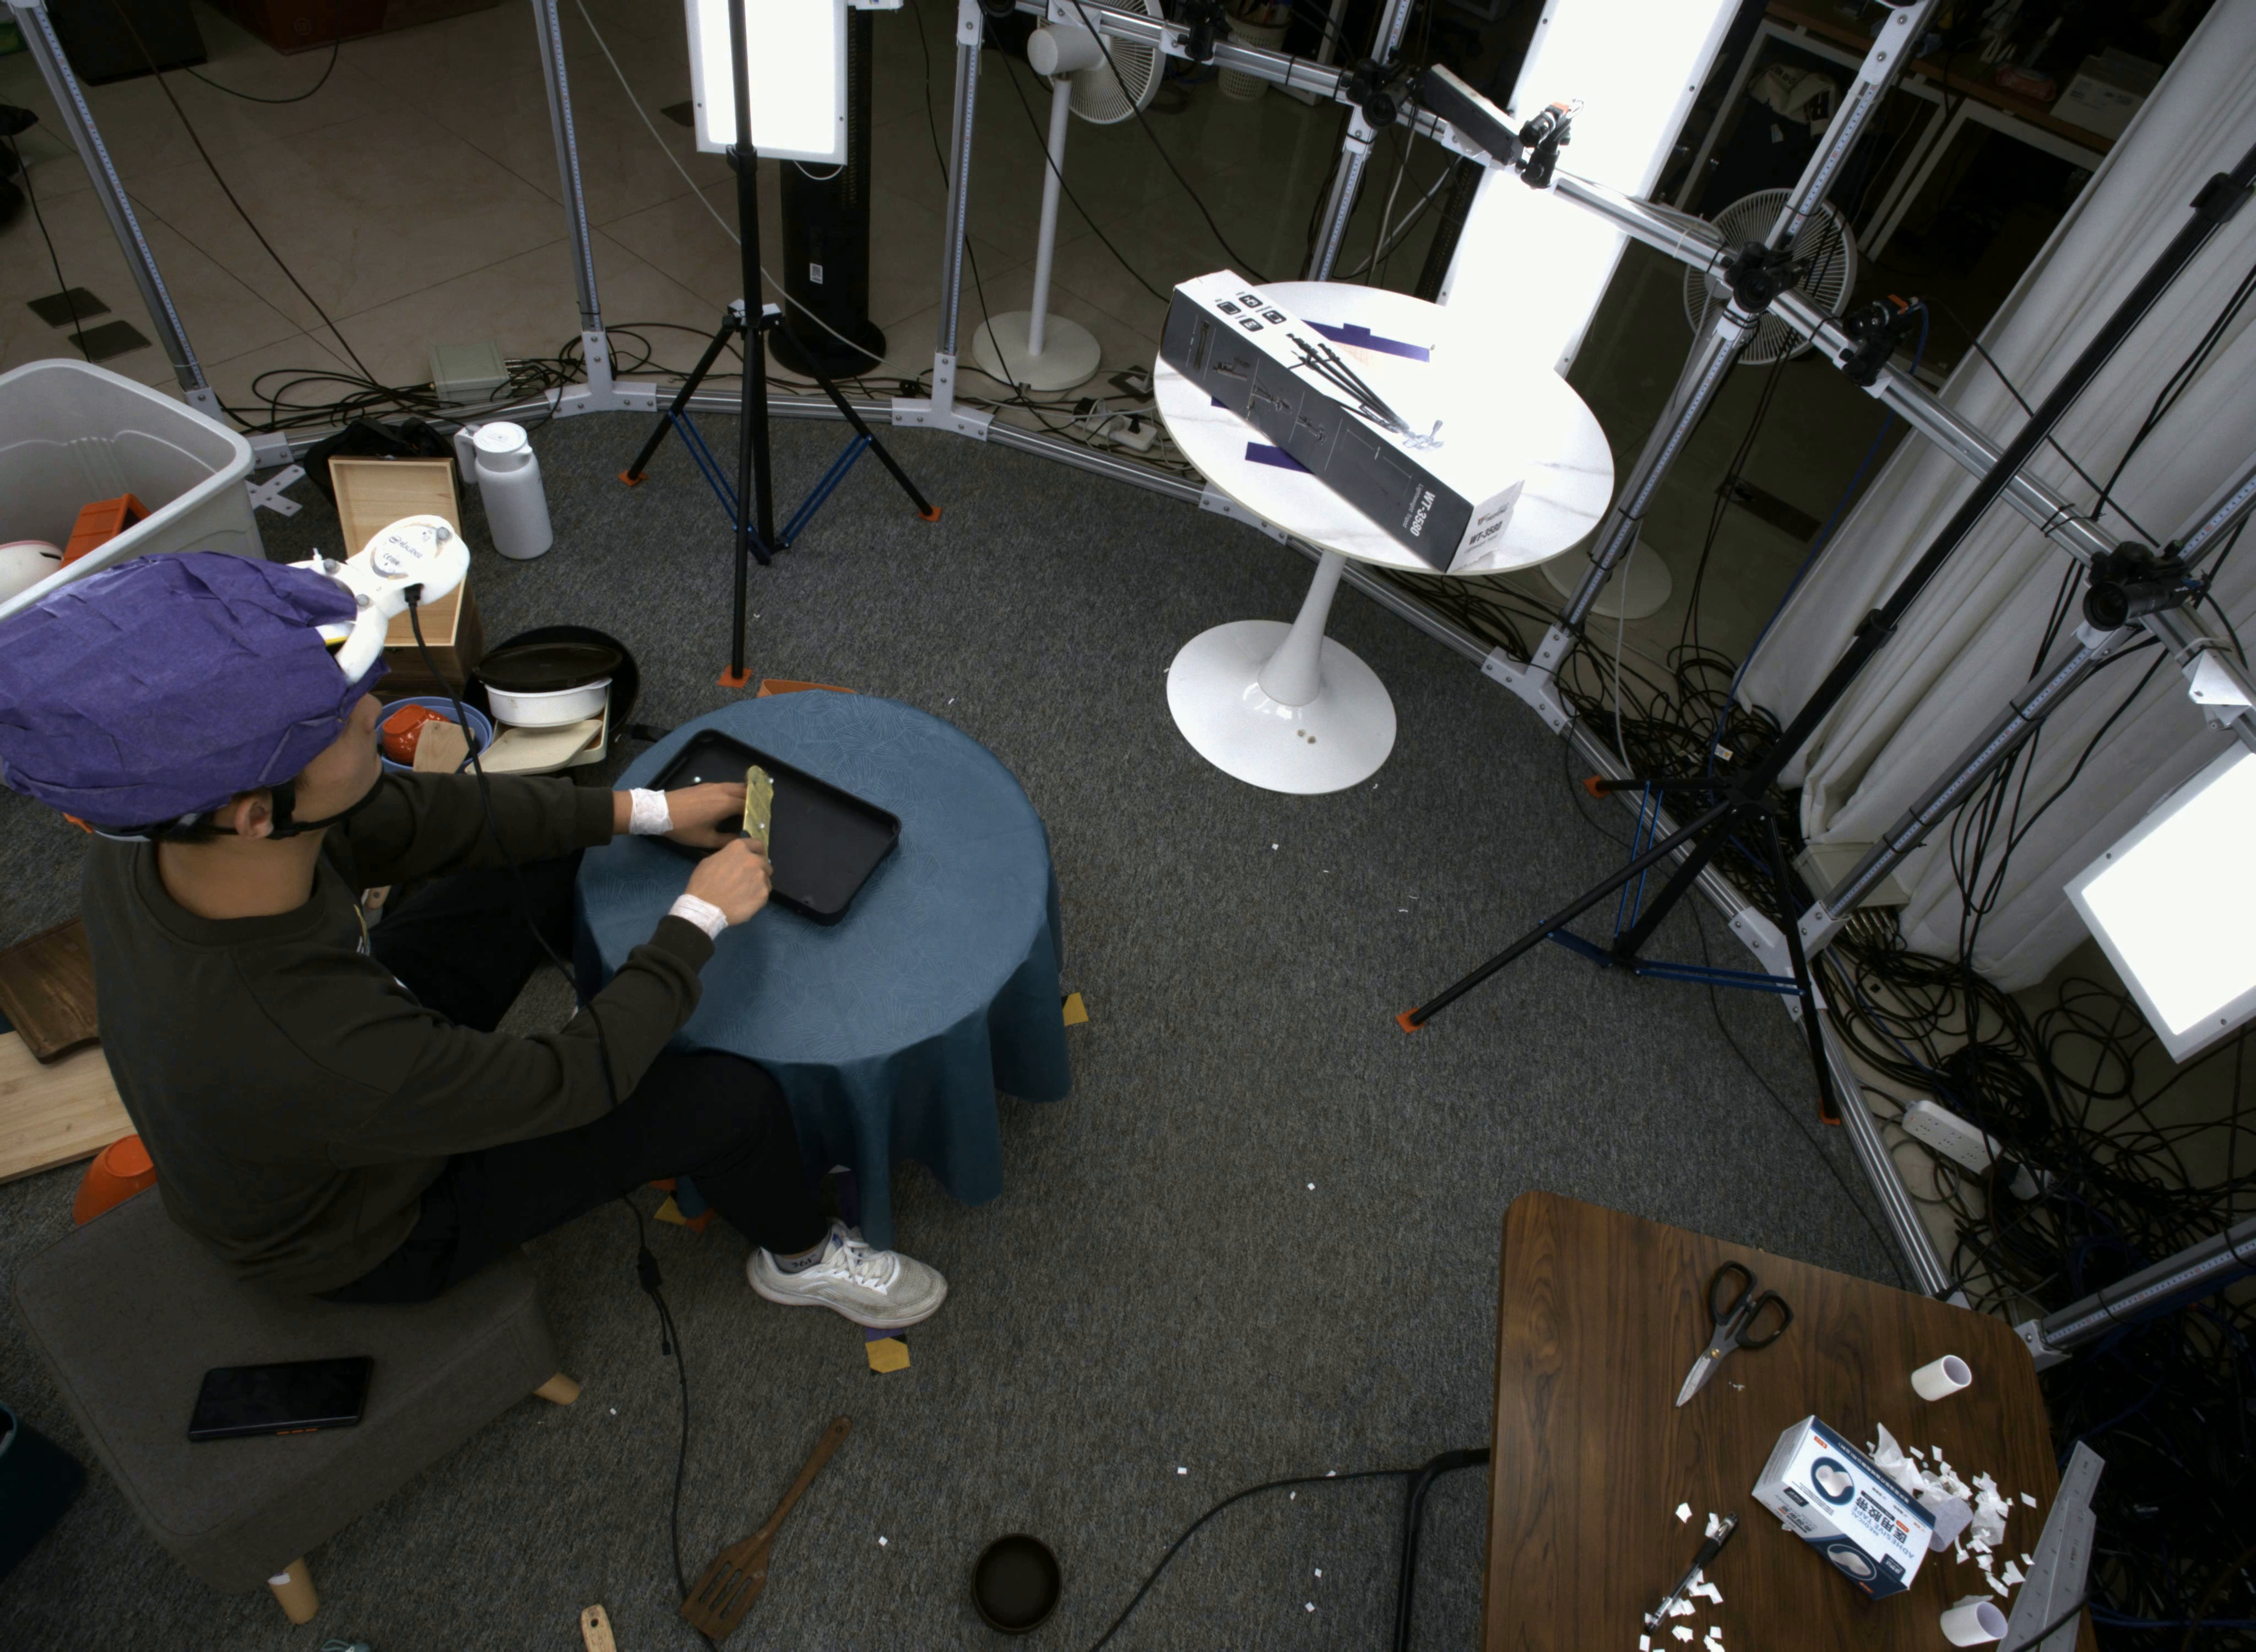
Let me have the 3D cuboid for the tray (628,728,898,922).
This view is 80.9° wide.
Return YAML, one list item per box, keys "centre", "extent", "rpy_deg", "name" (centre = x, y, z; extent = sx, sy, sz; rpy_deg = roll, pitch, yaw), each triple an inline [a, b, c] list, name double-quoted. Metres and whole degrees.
- centre: [-0.478, -0.006, 1.701]
  extent: [0.314, 0.038, 0.183]
  rpy_deg: [24, 52, 4]
  name: "tray"

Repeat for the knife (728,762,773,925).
- centre: [-0.468, 0.020, 1.620]
  extent: [0.027, 0.084, 0.282]
  rpy_deg: [-14, 43, 6]
  name: "knife"
